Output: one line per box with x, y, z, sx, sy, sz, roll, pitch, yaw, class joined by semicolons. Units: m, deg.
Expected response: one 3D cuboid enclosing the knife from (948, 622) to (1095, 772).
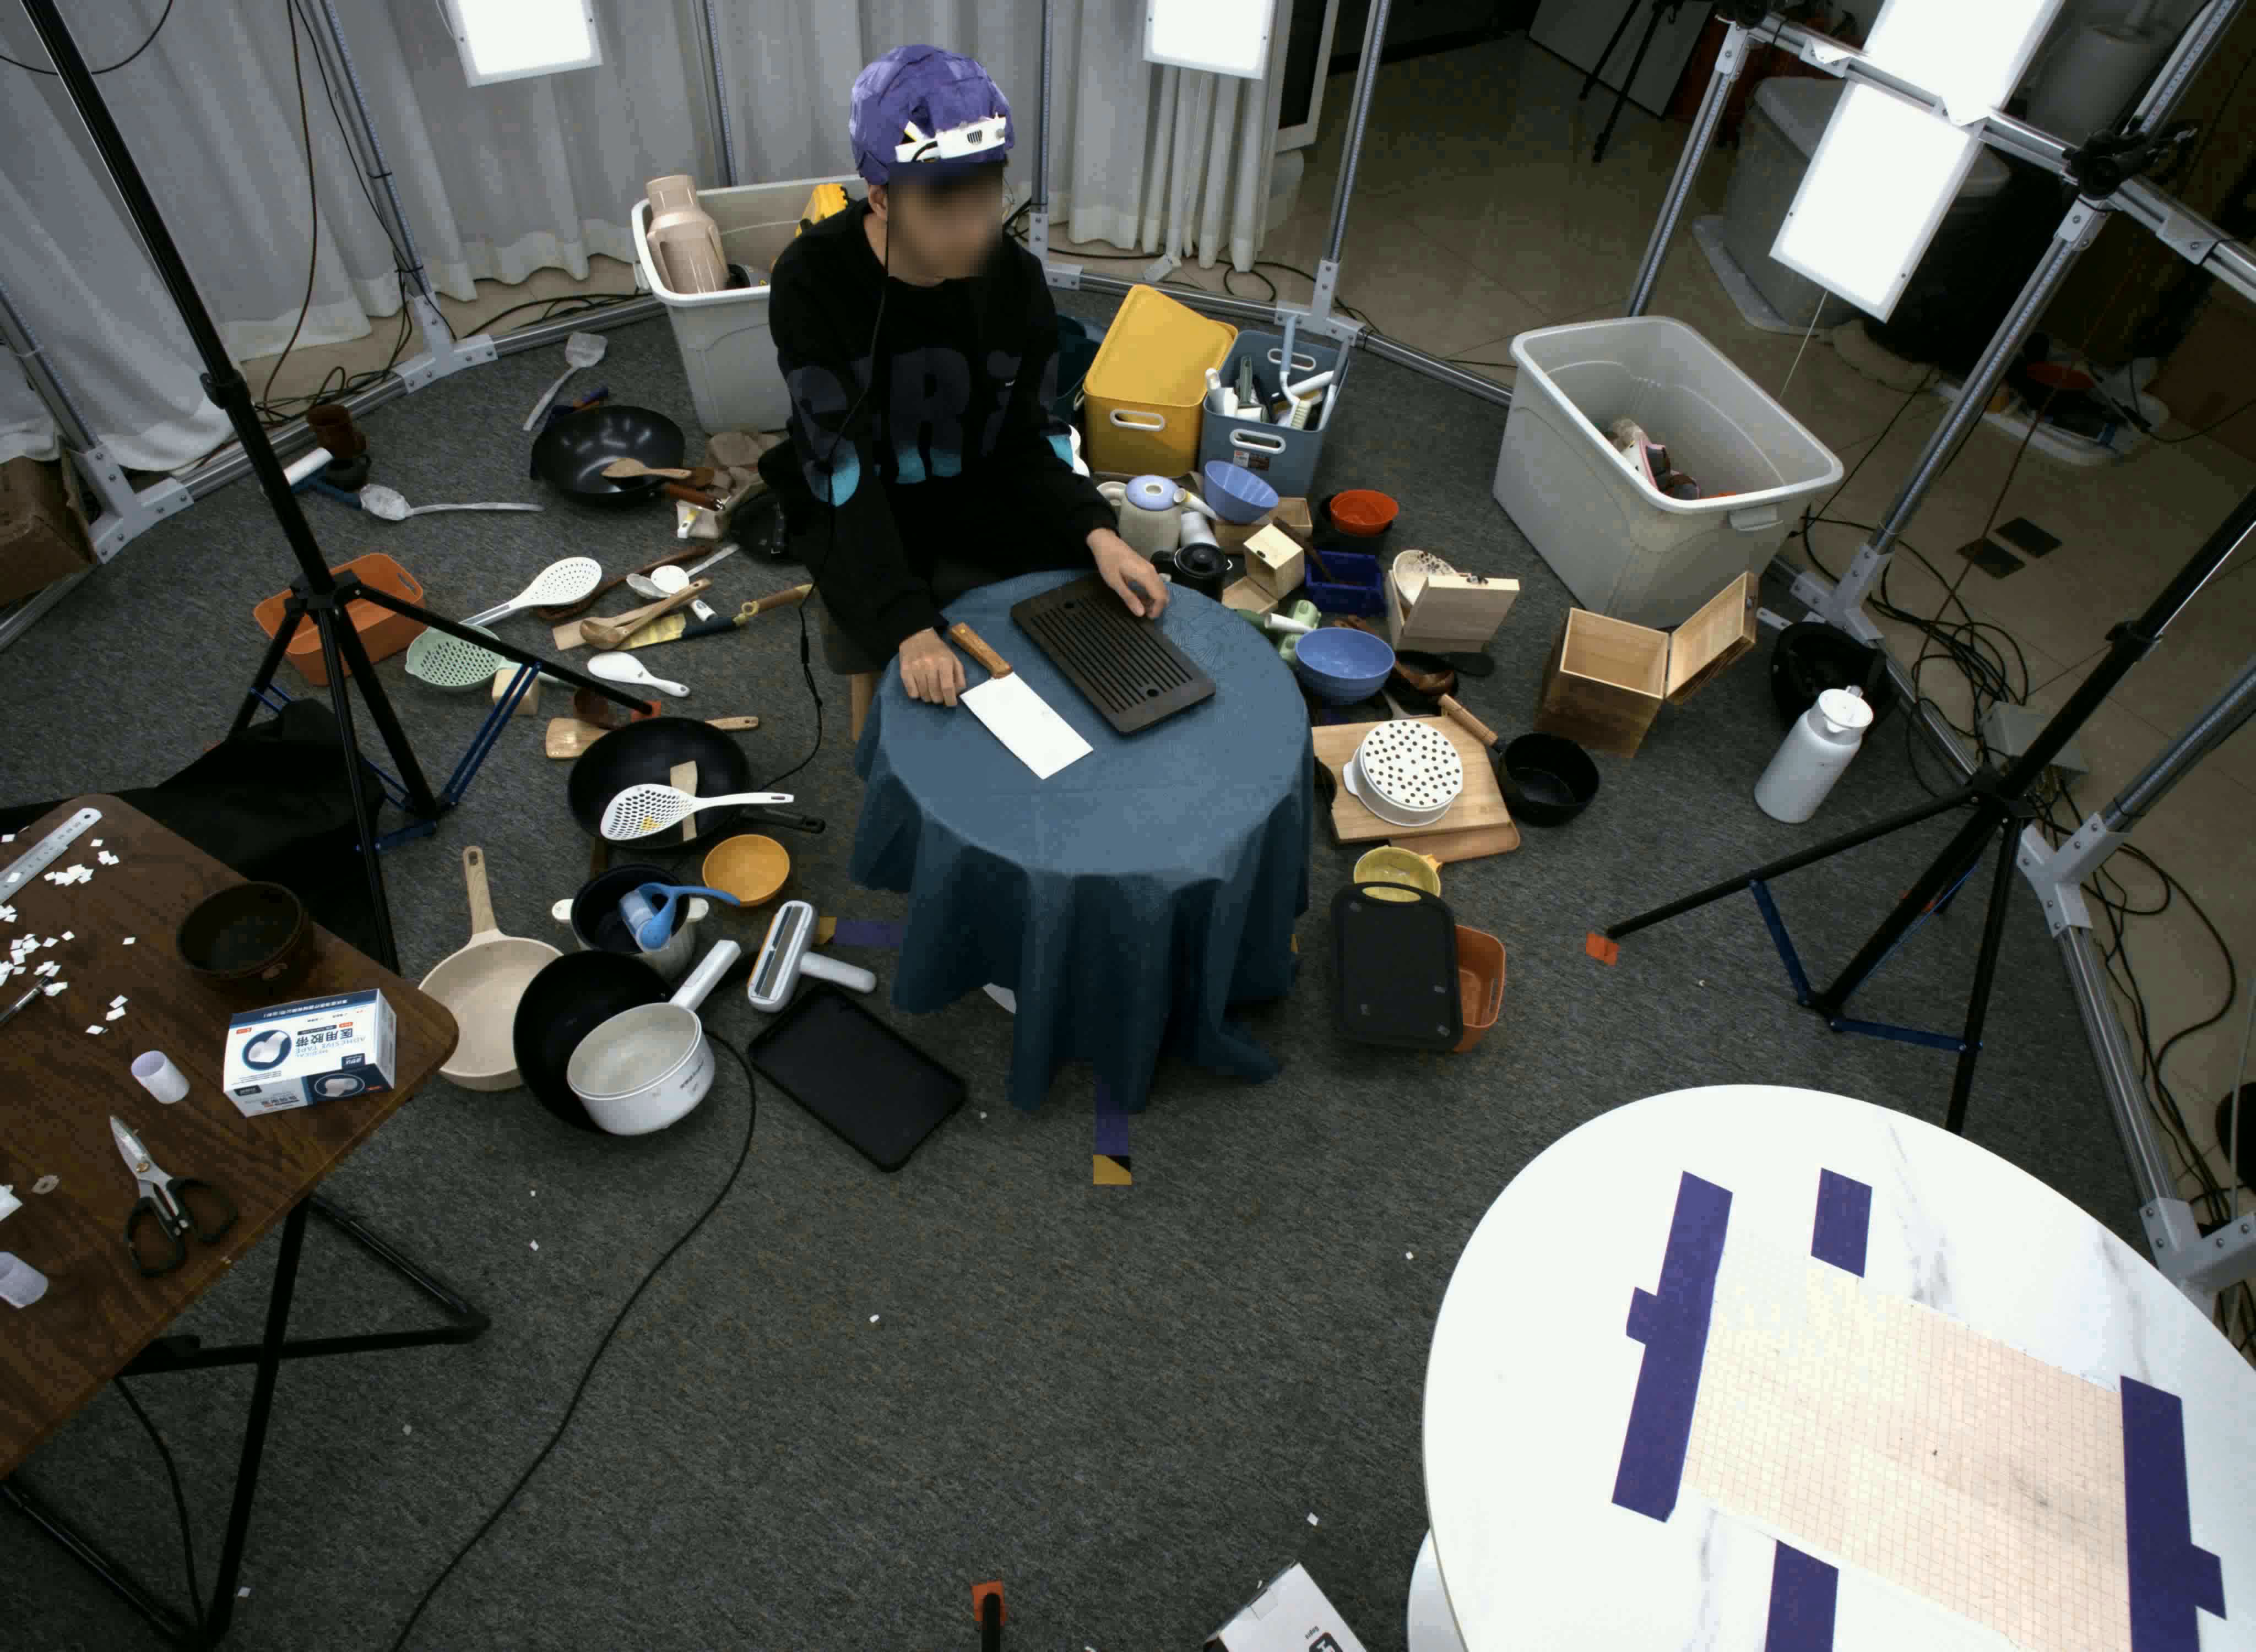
-0.173;-0.181;1.804;0.093;0.020;0.311;-31;60;-25;knife

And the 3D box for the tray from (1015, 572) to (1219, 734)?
-0.019;-0.257;1.878;0.171;0.018;0.312;-25;55;-23;tray
